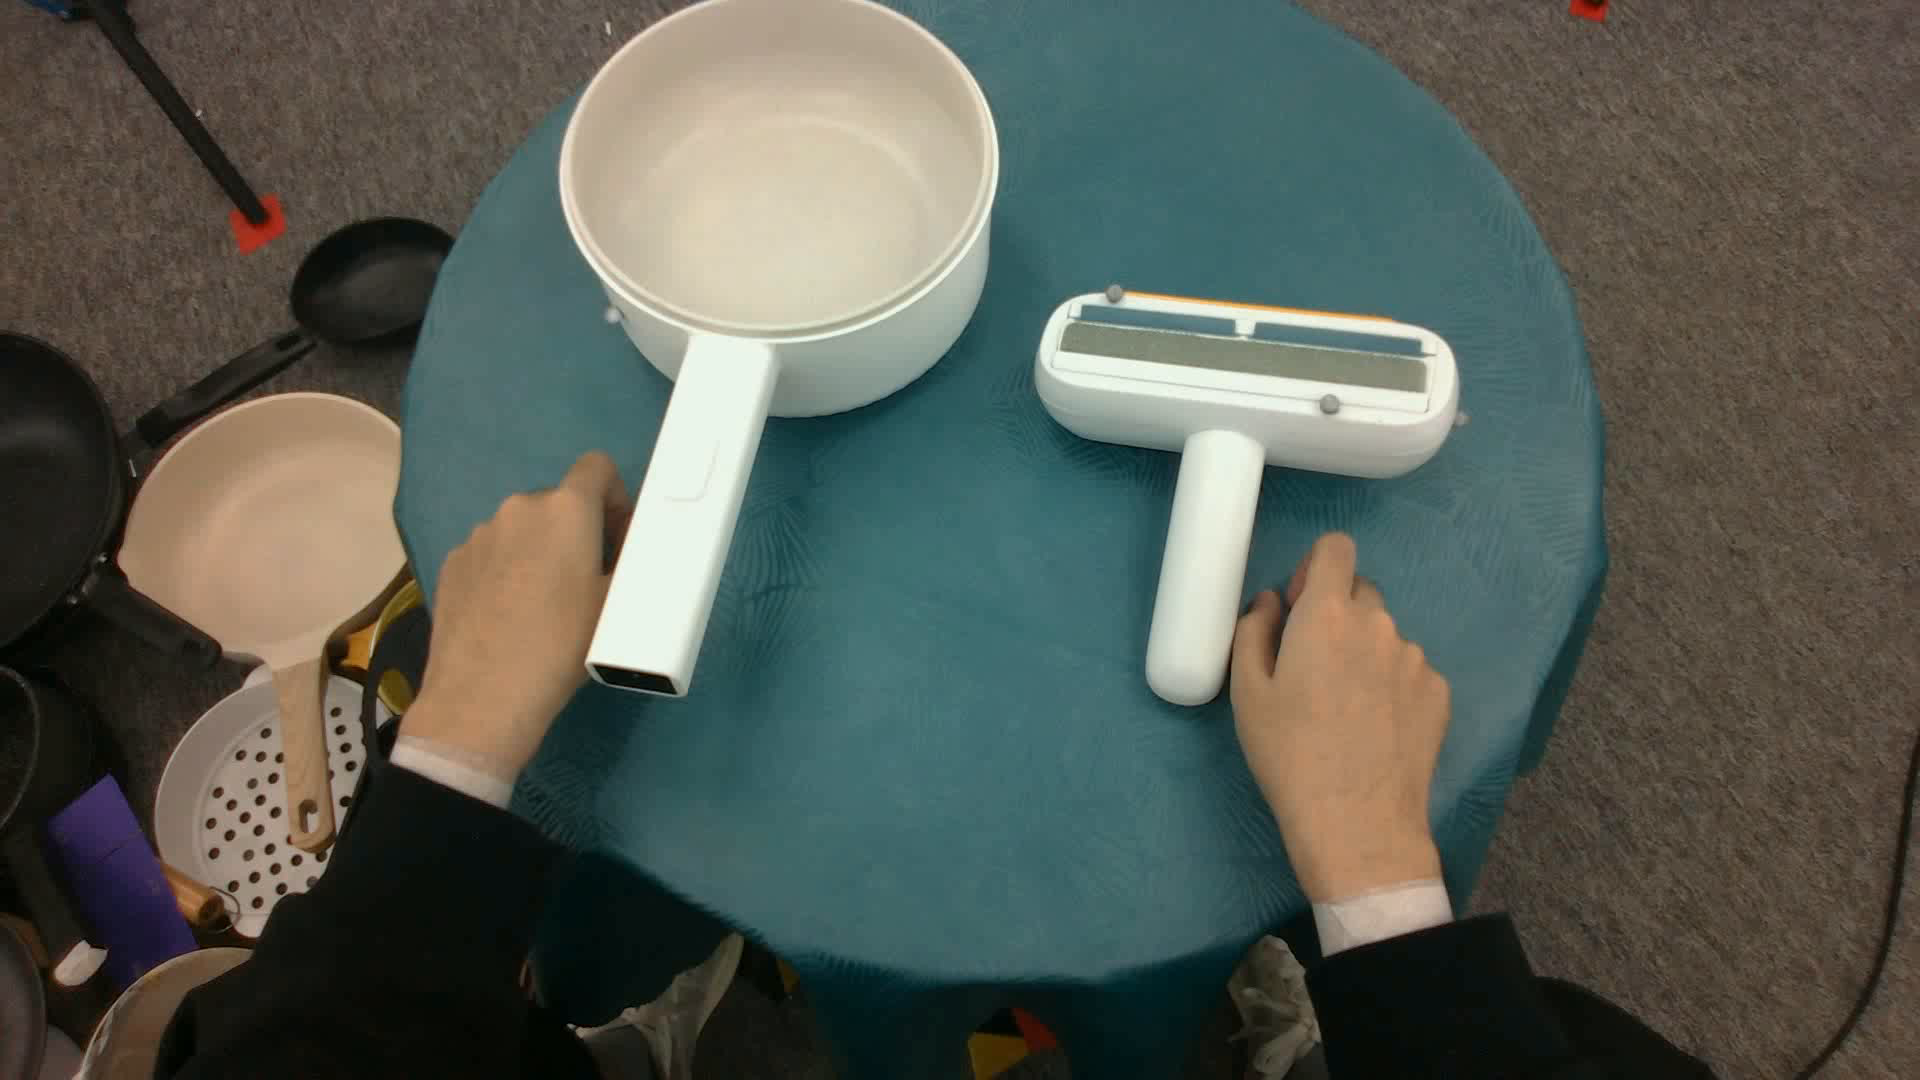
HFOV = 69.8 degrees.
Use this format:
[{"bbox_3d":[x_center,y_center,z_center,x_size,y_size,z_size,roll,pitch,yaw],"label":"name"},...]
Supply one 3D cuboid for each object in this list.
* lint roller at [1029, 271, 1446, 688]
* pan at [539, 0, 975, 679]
[{"bbox_3d":[0.111,-0.027,0.634,0.193,0.074,0.193,14,68,11],"label":"lint roller"},{"bbox_3d":[-0.107,-0.097,0.644,0.201,0.101,0.356,9,66,3],"label":"pan"}]
